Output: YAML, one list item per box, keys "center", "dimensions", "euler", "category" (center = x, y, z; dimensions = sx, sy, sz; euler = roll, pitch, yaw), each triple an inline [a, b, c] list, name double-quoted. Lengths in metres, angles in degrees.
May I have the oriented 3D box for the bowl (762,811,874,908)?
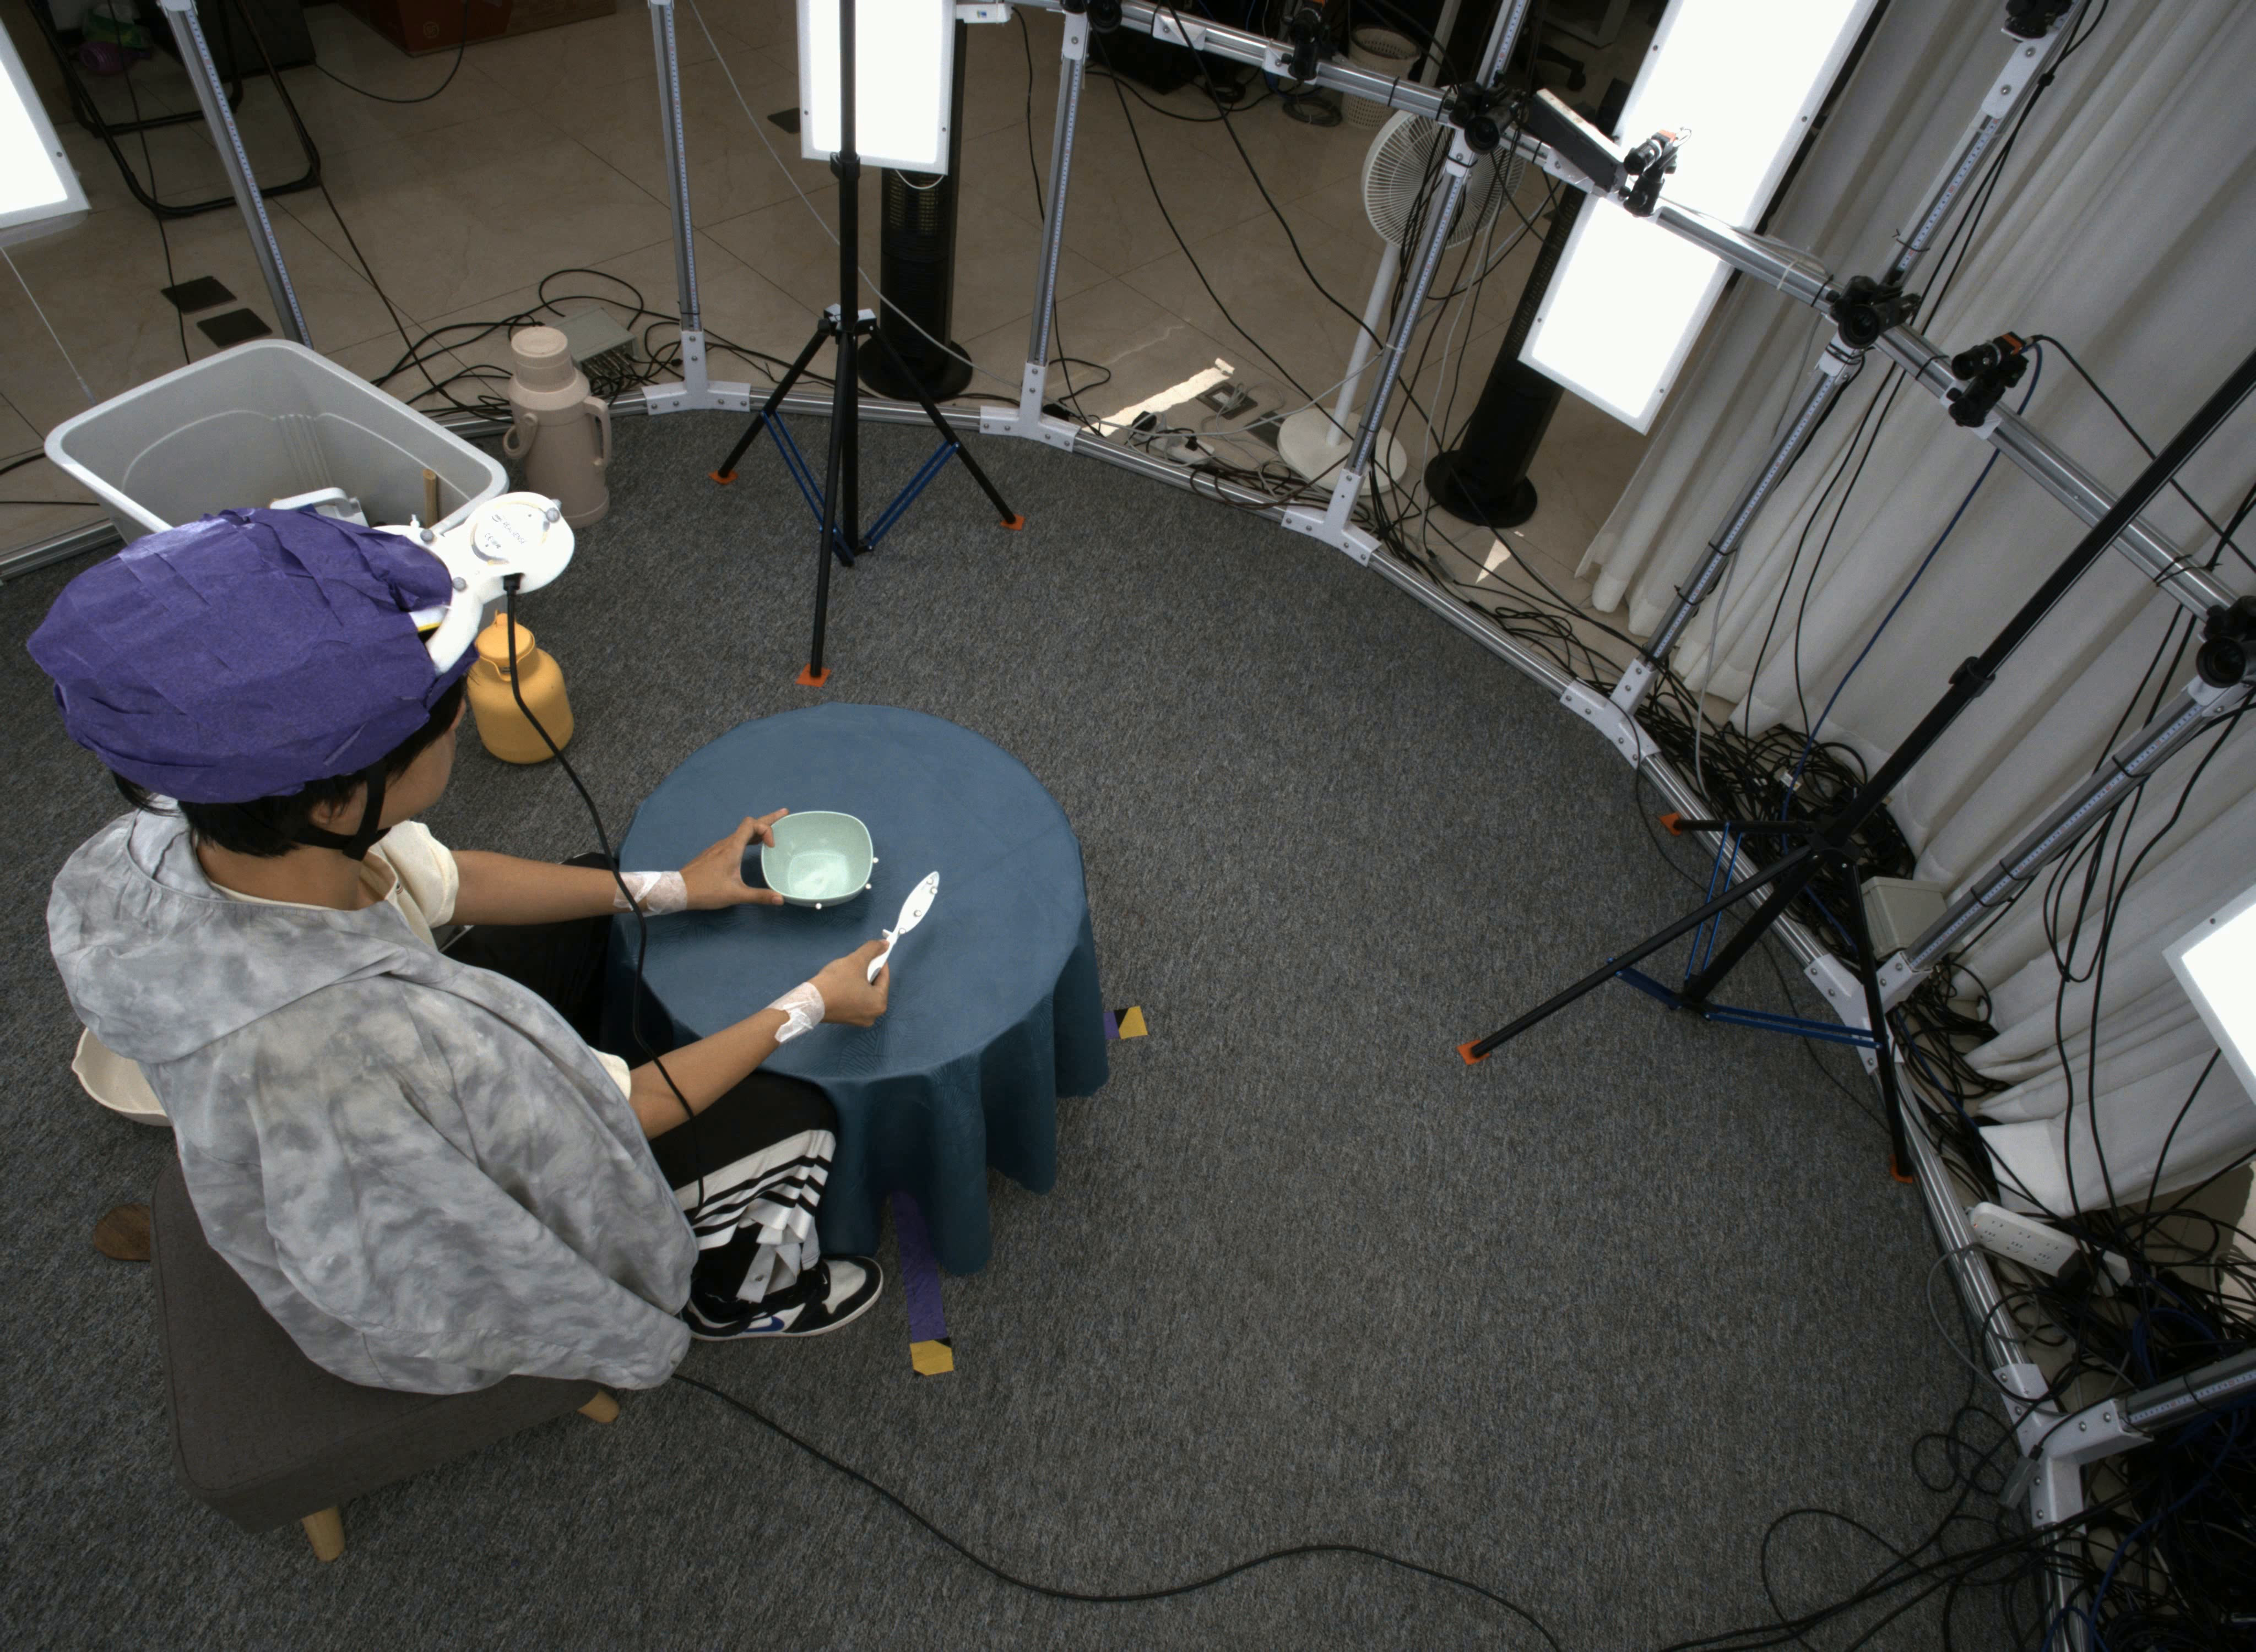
- center: [-0.396, 0.052, 1.658]
  dimensions: [0.151, 0.059, 0.149]
  euler: [9, 52, -10]
  category: "bowl"

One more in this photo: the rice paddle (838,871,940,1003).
- center: [-0.280, 0.129, 1.575]
  dimensions: [0.029, 0.070, 0.204]
  euler: [27, 50, 10]
  category: "rice paddle"
